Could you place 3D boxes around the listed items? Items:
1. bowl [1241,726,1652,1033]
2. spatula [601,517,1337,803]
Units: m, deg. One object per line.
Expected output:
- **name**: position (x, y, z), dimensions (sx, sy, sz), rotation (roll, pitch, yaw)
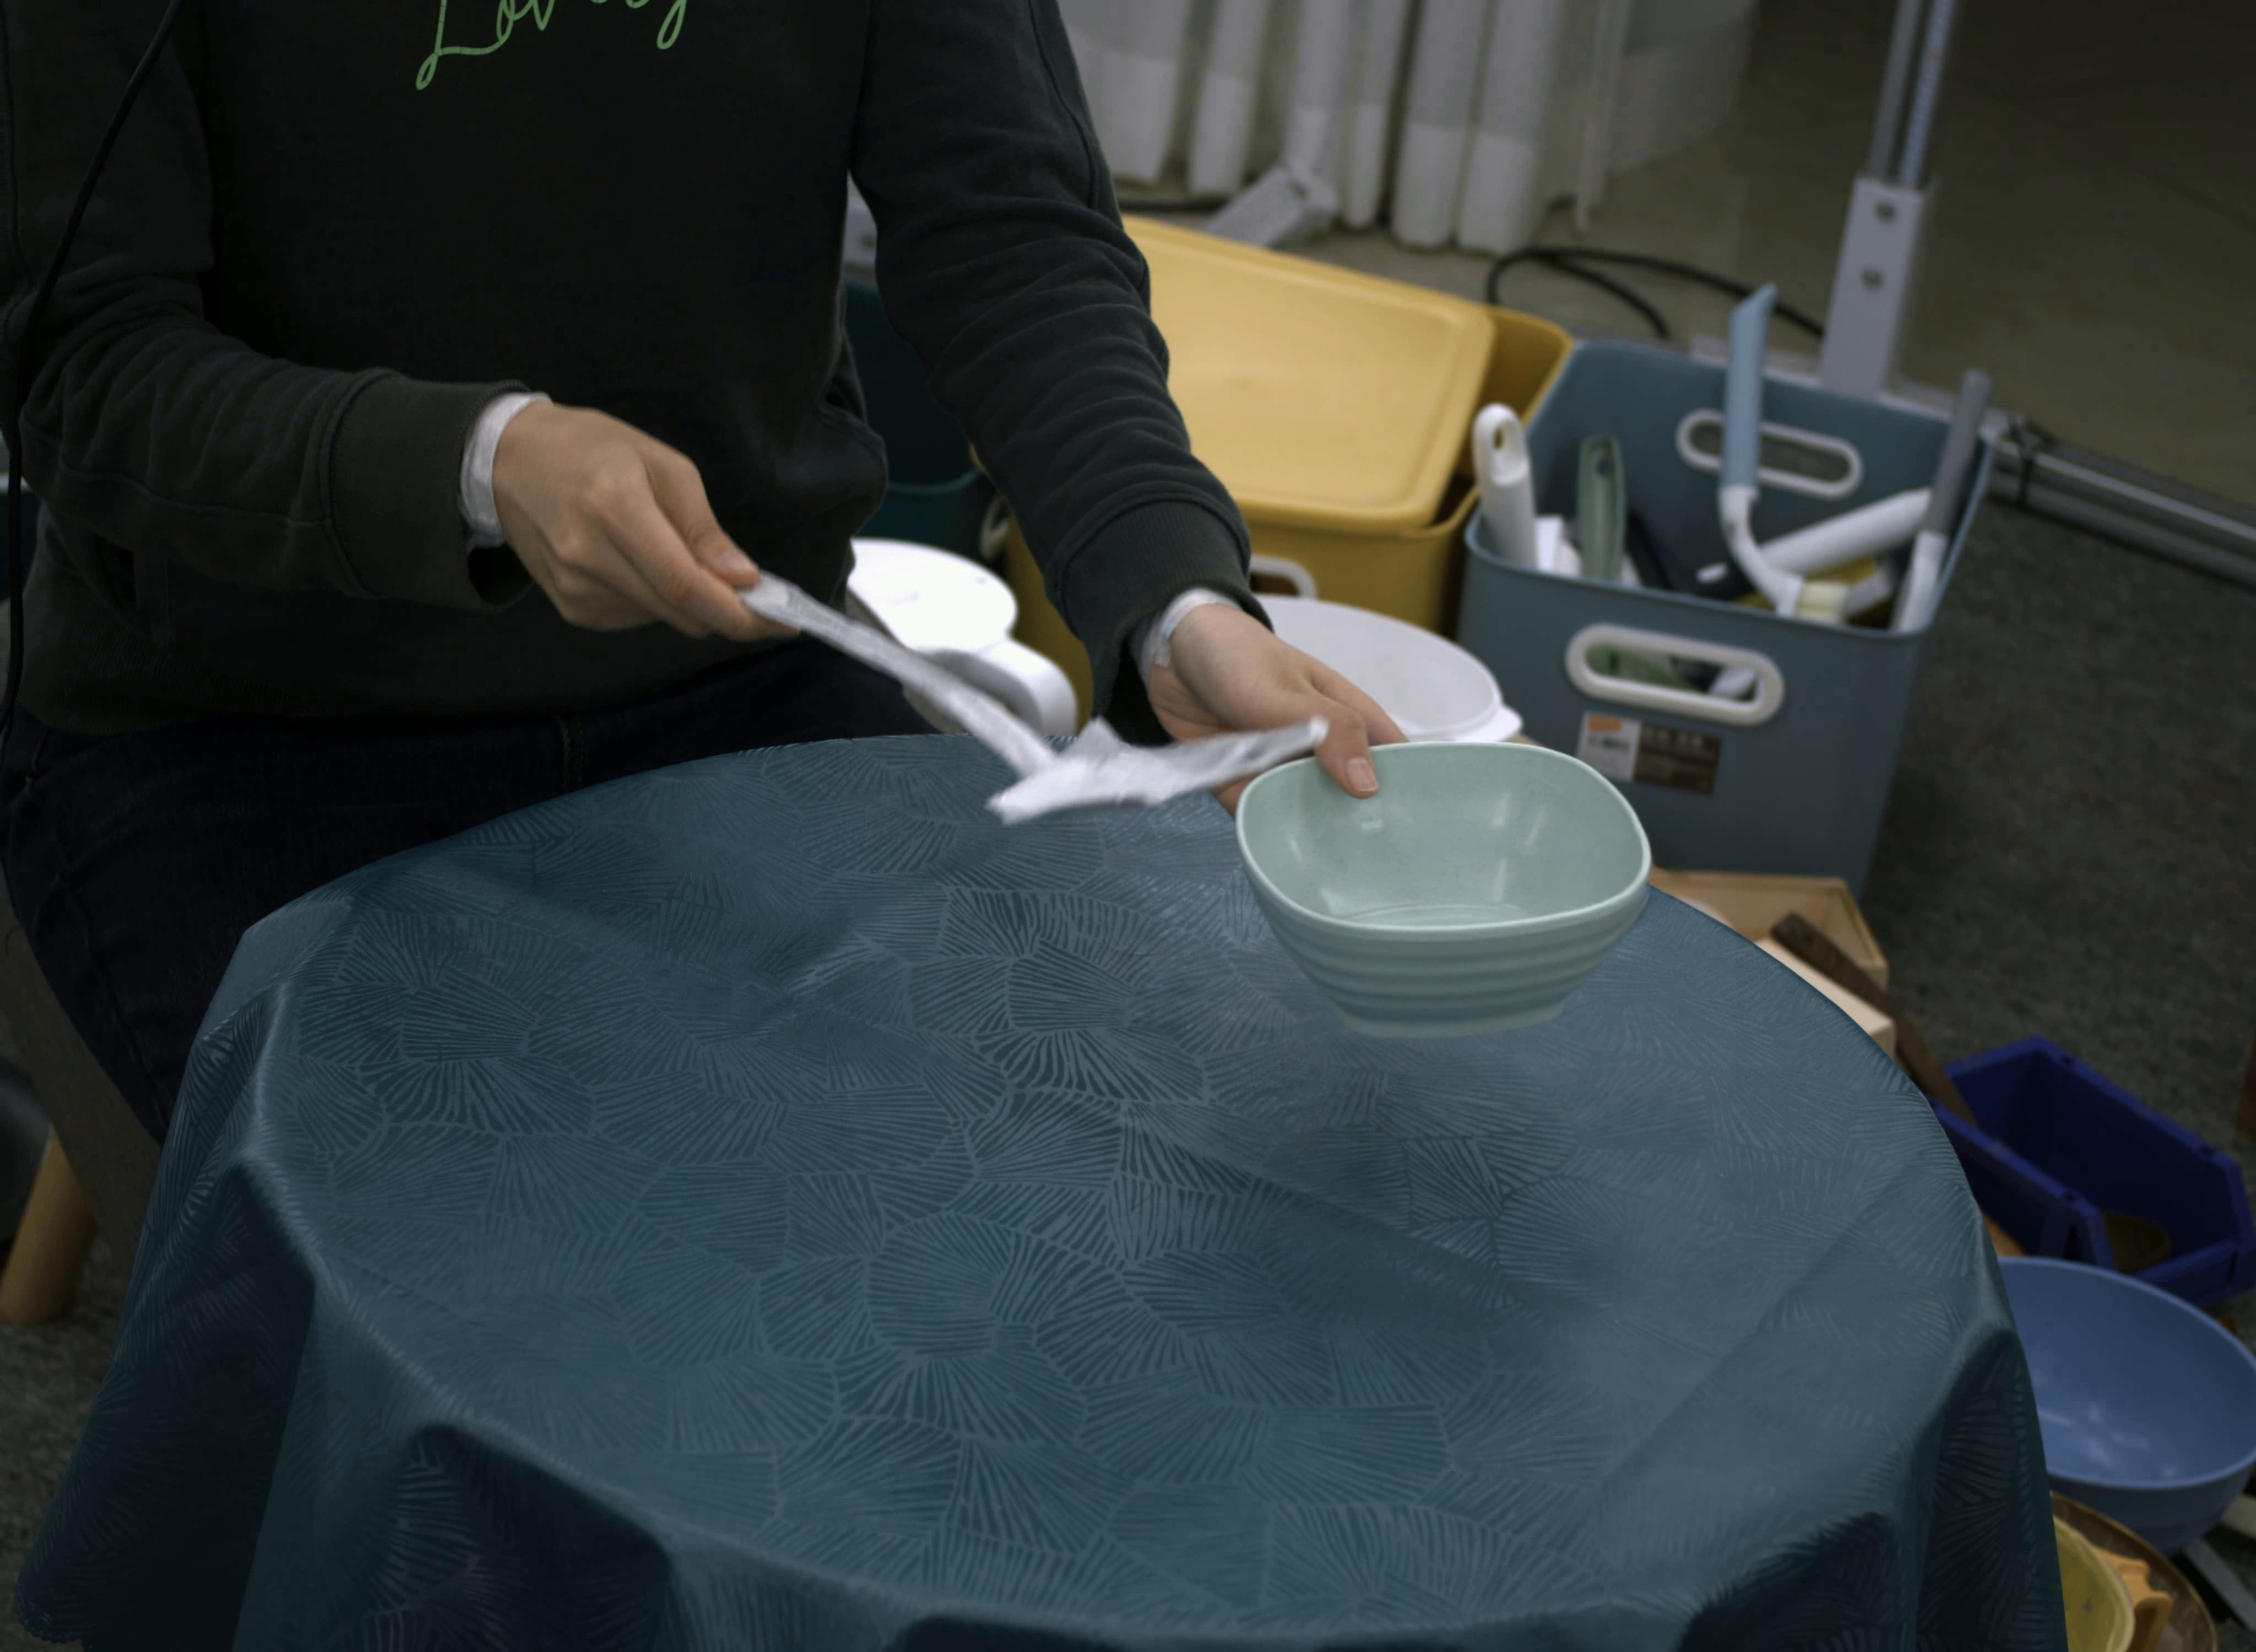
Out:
- **bowl**: position (0.107, 0.024, 1.824), dimensions (0.151, 0.058, 0.152), rotation (2, 30, -1)
- **spatula**: position (-0.076, -0.065, 1.785), dimensions (0.098, 0.044, 0.368), rotation (-21, 32, -35)
